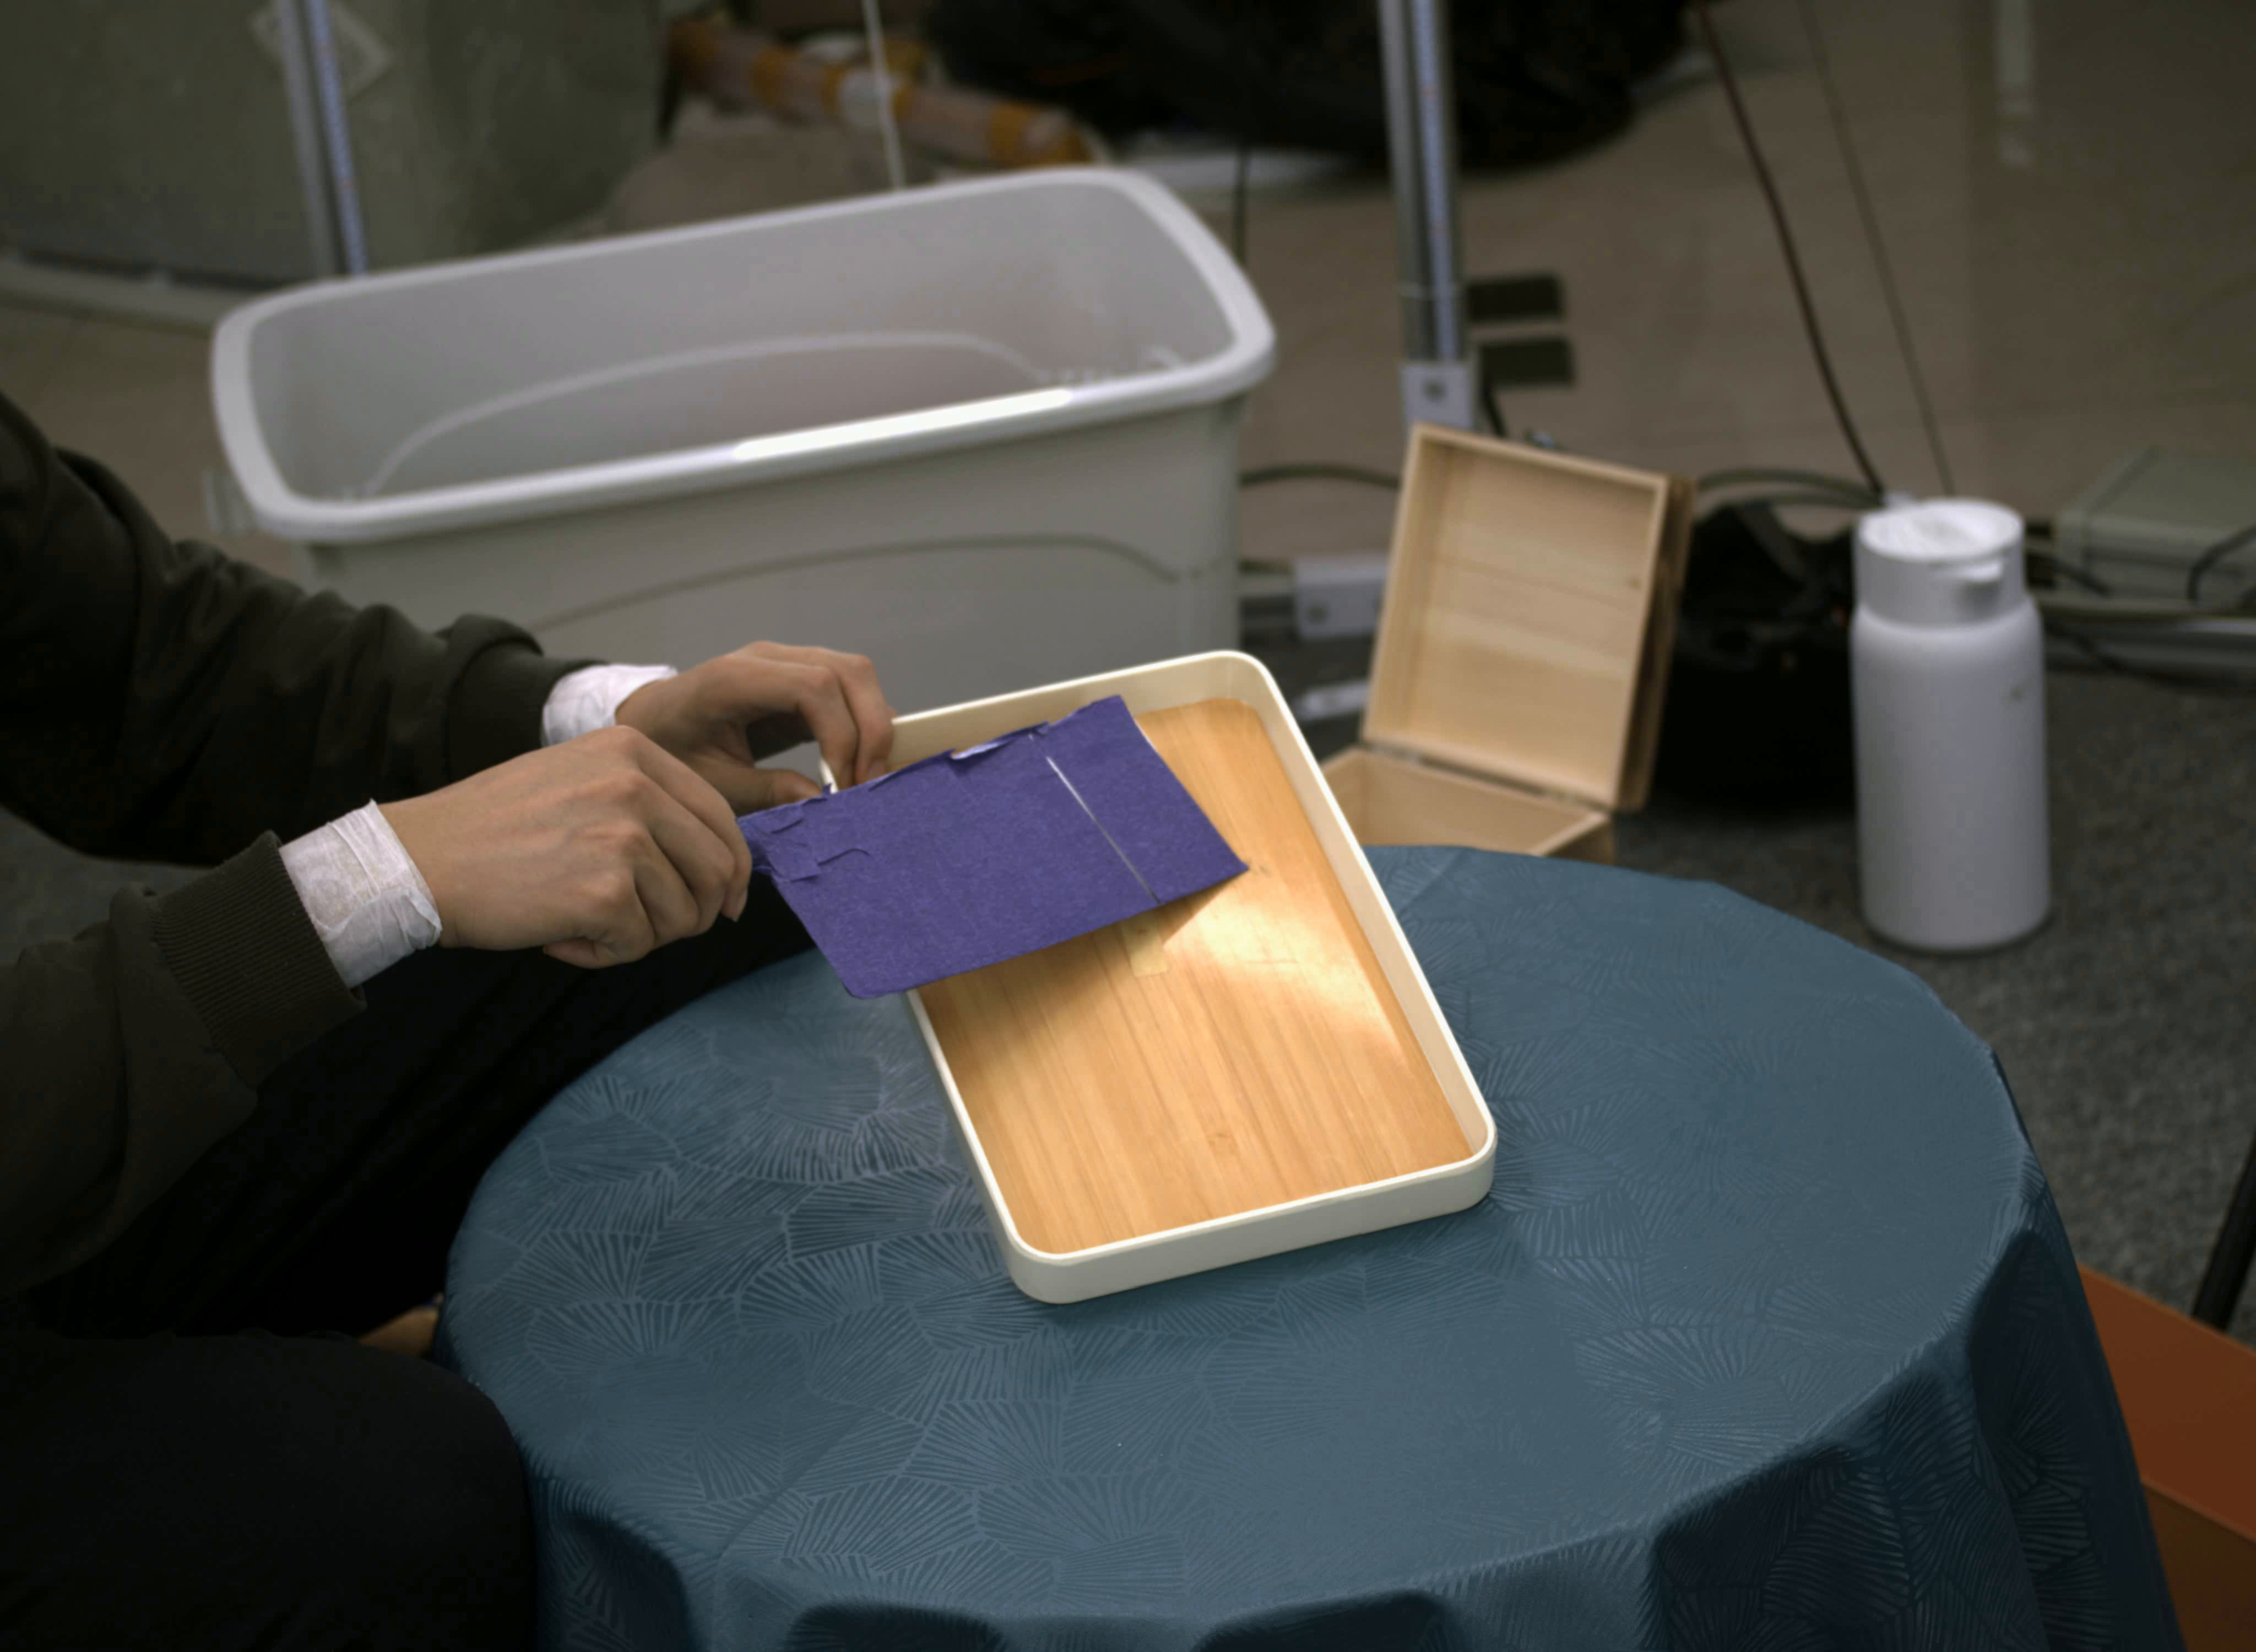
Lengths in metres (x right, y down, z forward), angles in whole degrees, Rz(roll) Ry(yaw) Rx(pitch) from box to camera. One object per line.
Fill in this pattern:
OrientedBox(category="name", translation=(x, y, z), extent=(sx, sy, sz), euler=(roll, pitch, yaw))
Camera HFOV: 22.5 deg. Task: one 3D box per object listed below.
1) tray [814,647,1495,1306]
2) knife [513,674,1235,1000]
OrientedBox(category="tray", translation=(0.006, 0.052, 2.185), extent=(0.191, 0.028, 0.295), euler=(-13, 47, -12))
OrientedBox(category="knife", translation=(-0.086, 0.016, 2.142), extent=(0.313, 0.033, 0.103), euler=(-21, 65, -39))
